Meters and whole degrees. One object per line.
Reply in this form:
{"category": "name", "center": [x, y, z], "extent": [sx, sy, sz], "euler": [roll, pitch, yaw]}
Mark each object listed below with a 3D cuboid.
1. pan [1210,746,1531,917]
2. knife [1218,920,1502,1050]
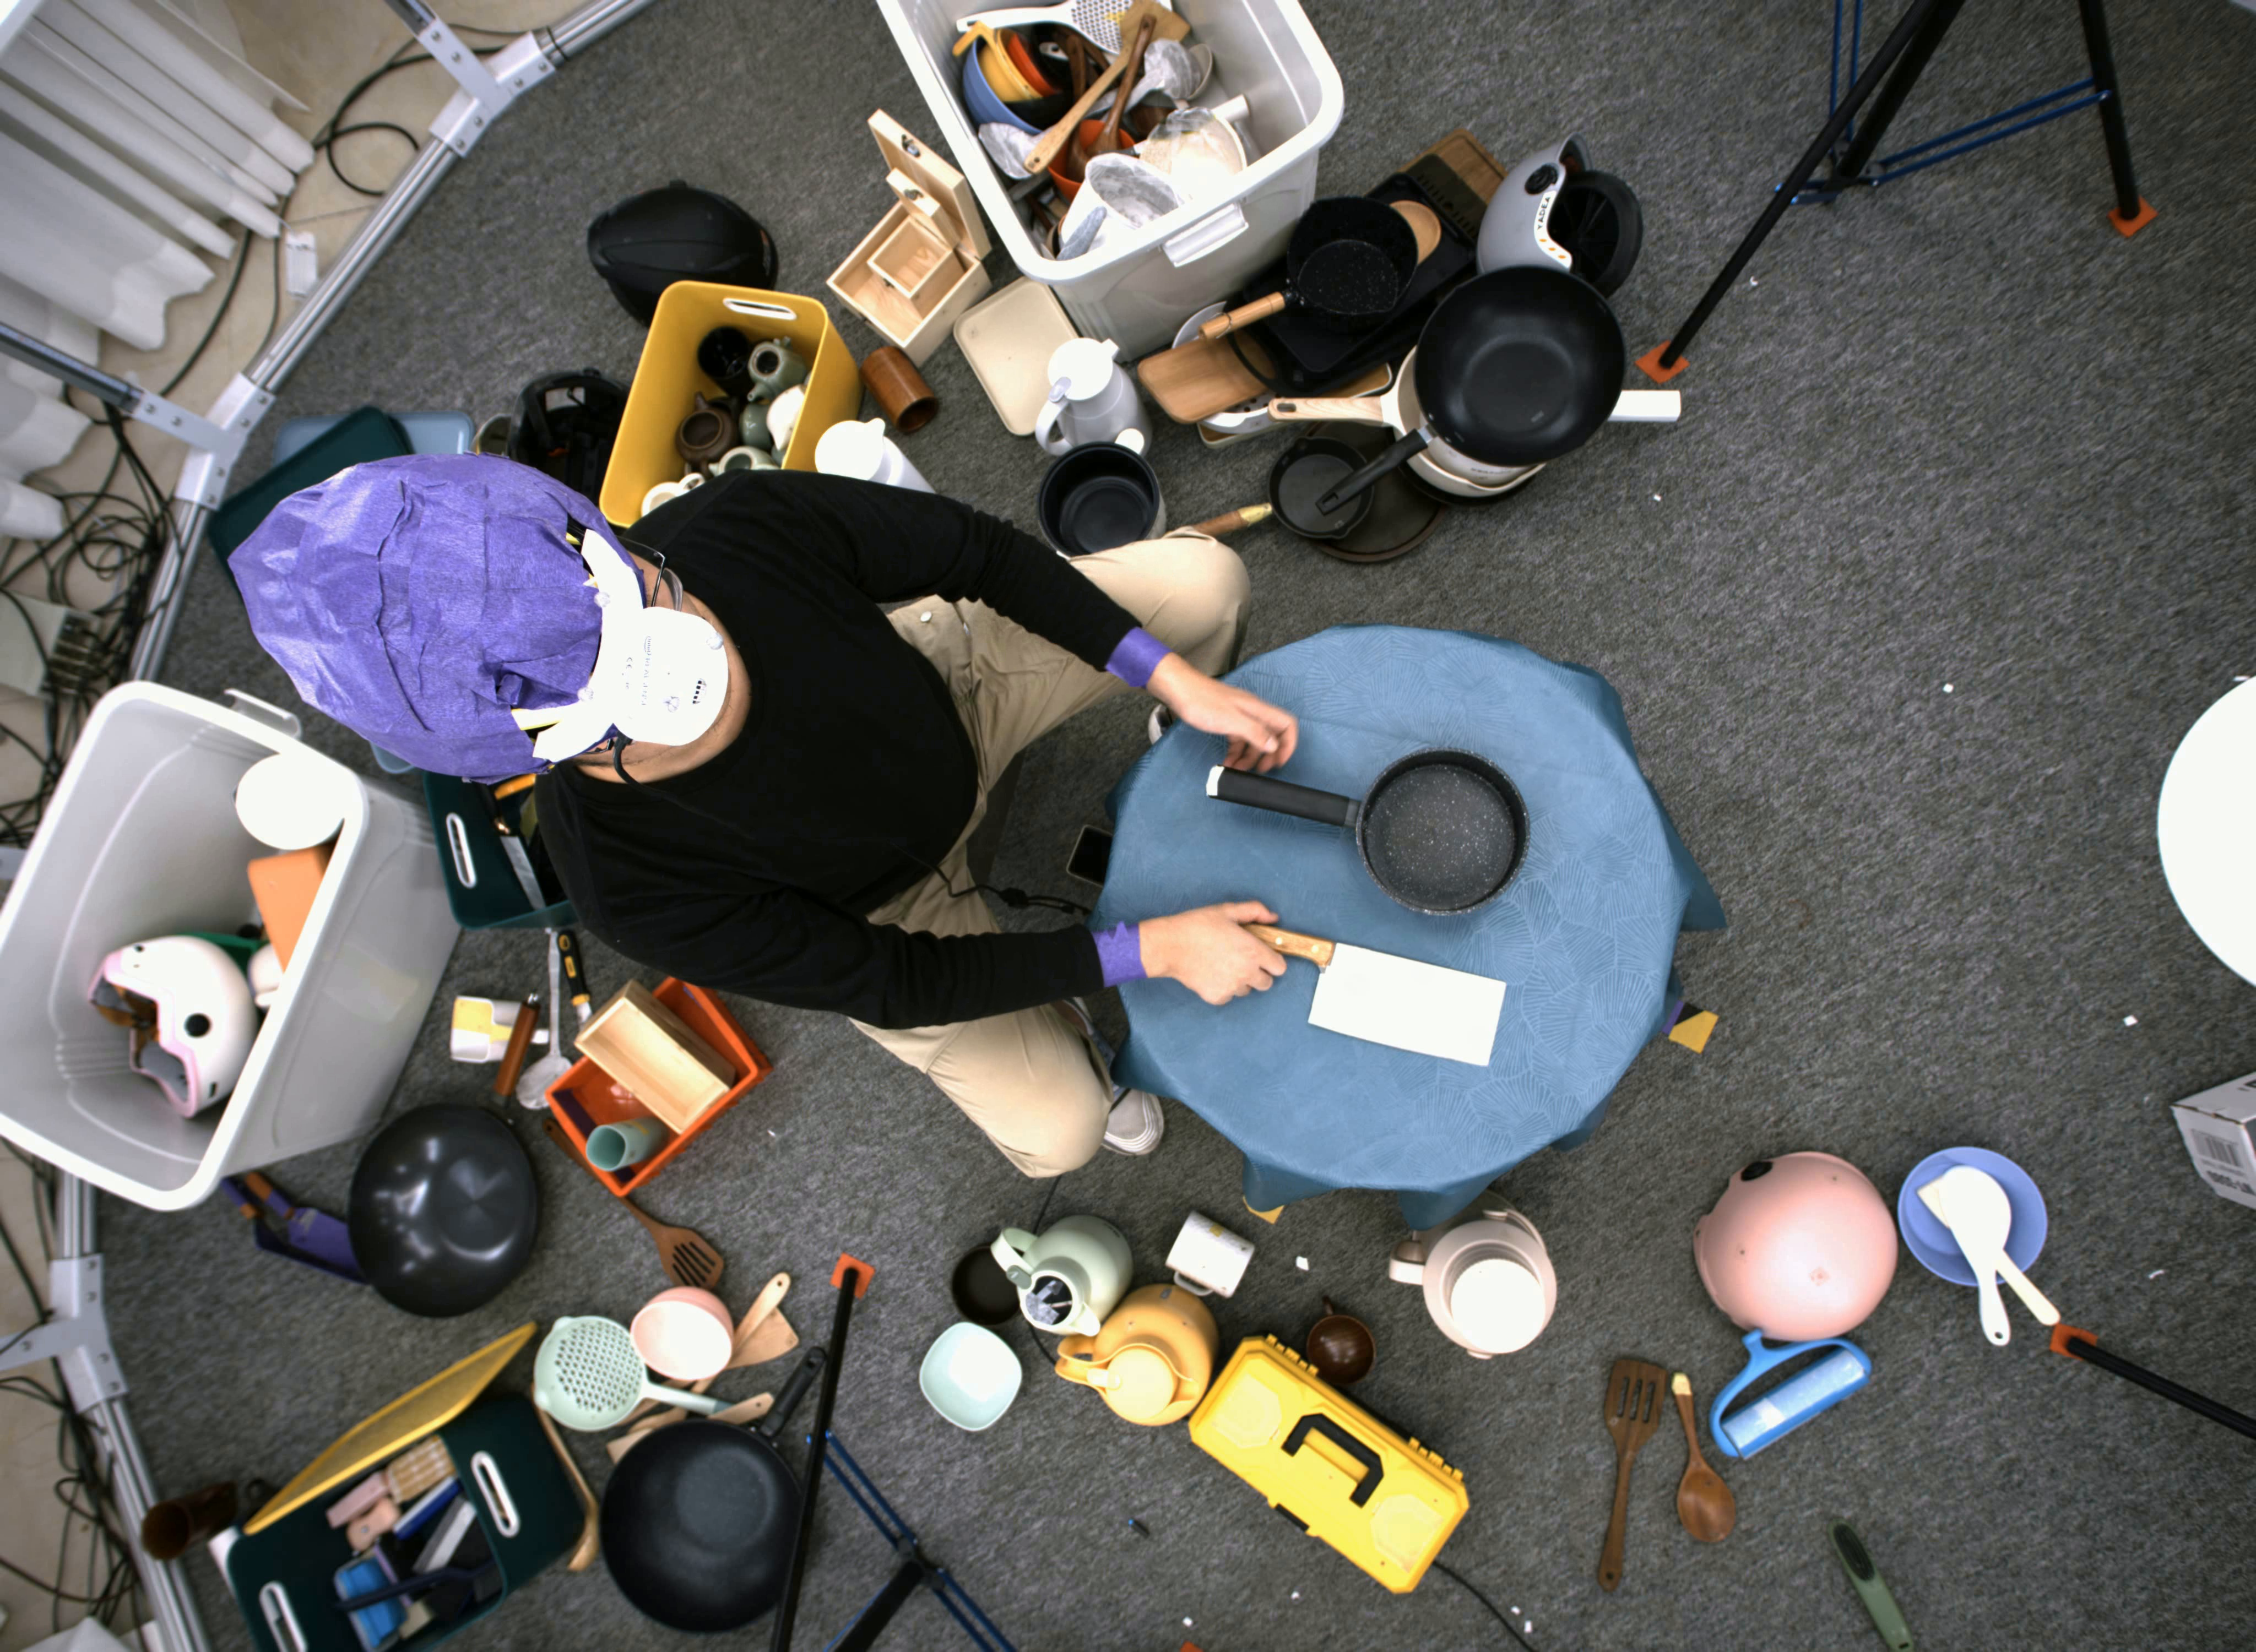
{"category": "pan", "center": [0.247, -0.013, 1.428], "extent": [0.329, 0.086, 0.172], "euler": [15, 89, 11]}
{"category": "knife", "center": [0.237, 0.169, 1.455], "extent": [0.306, 0.021, 0.093], "euler": [13, 90, 9]}
